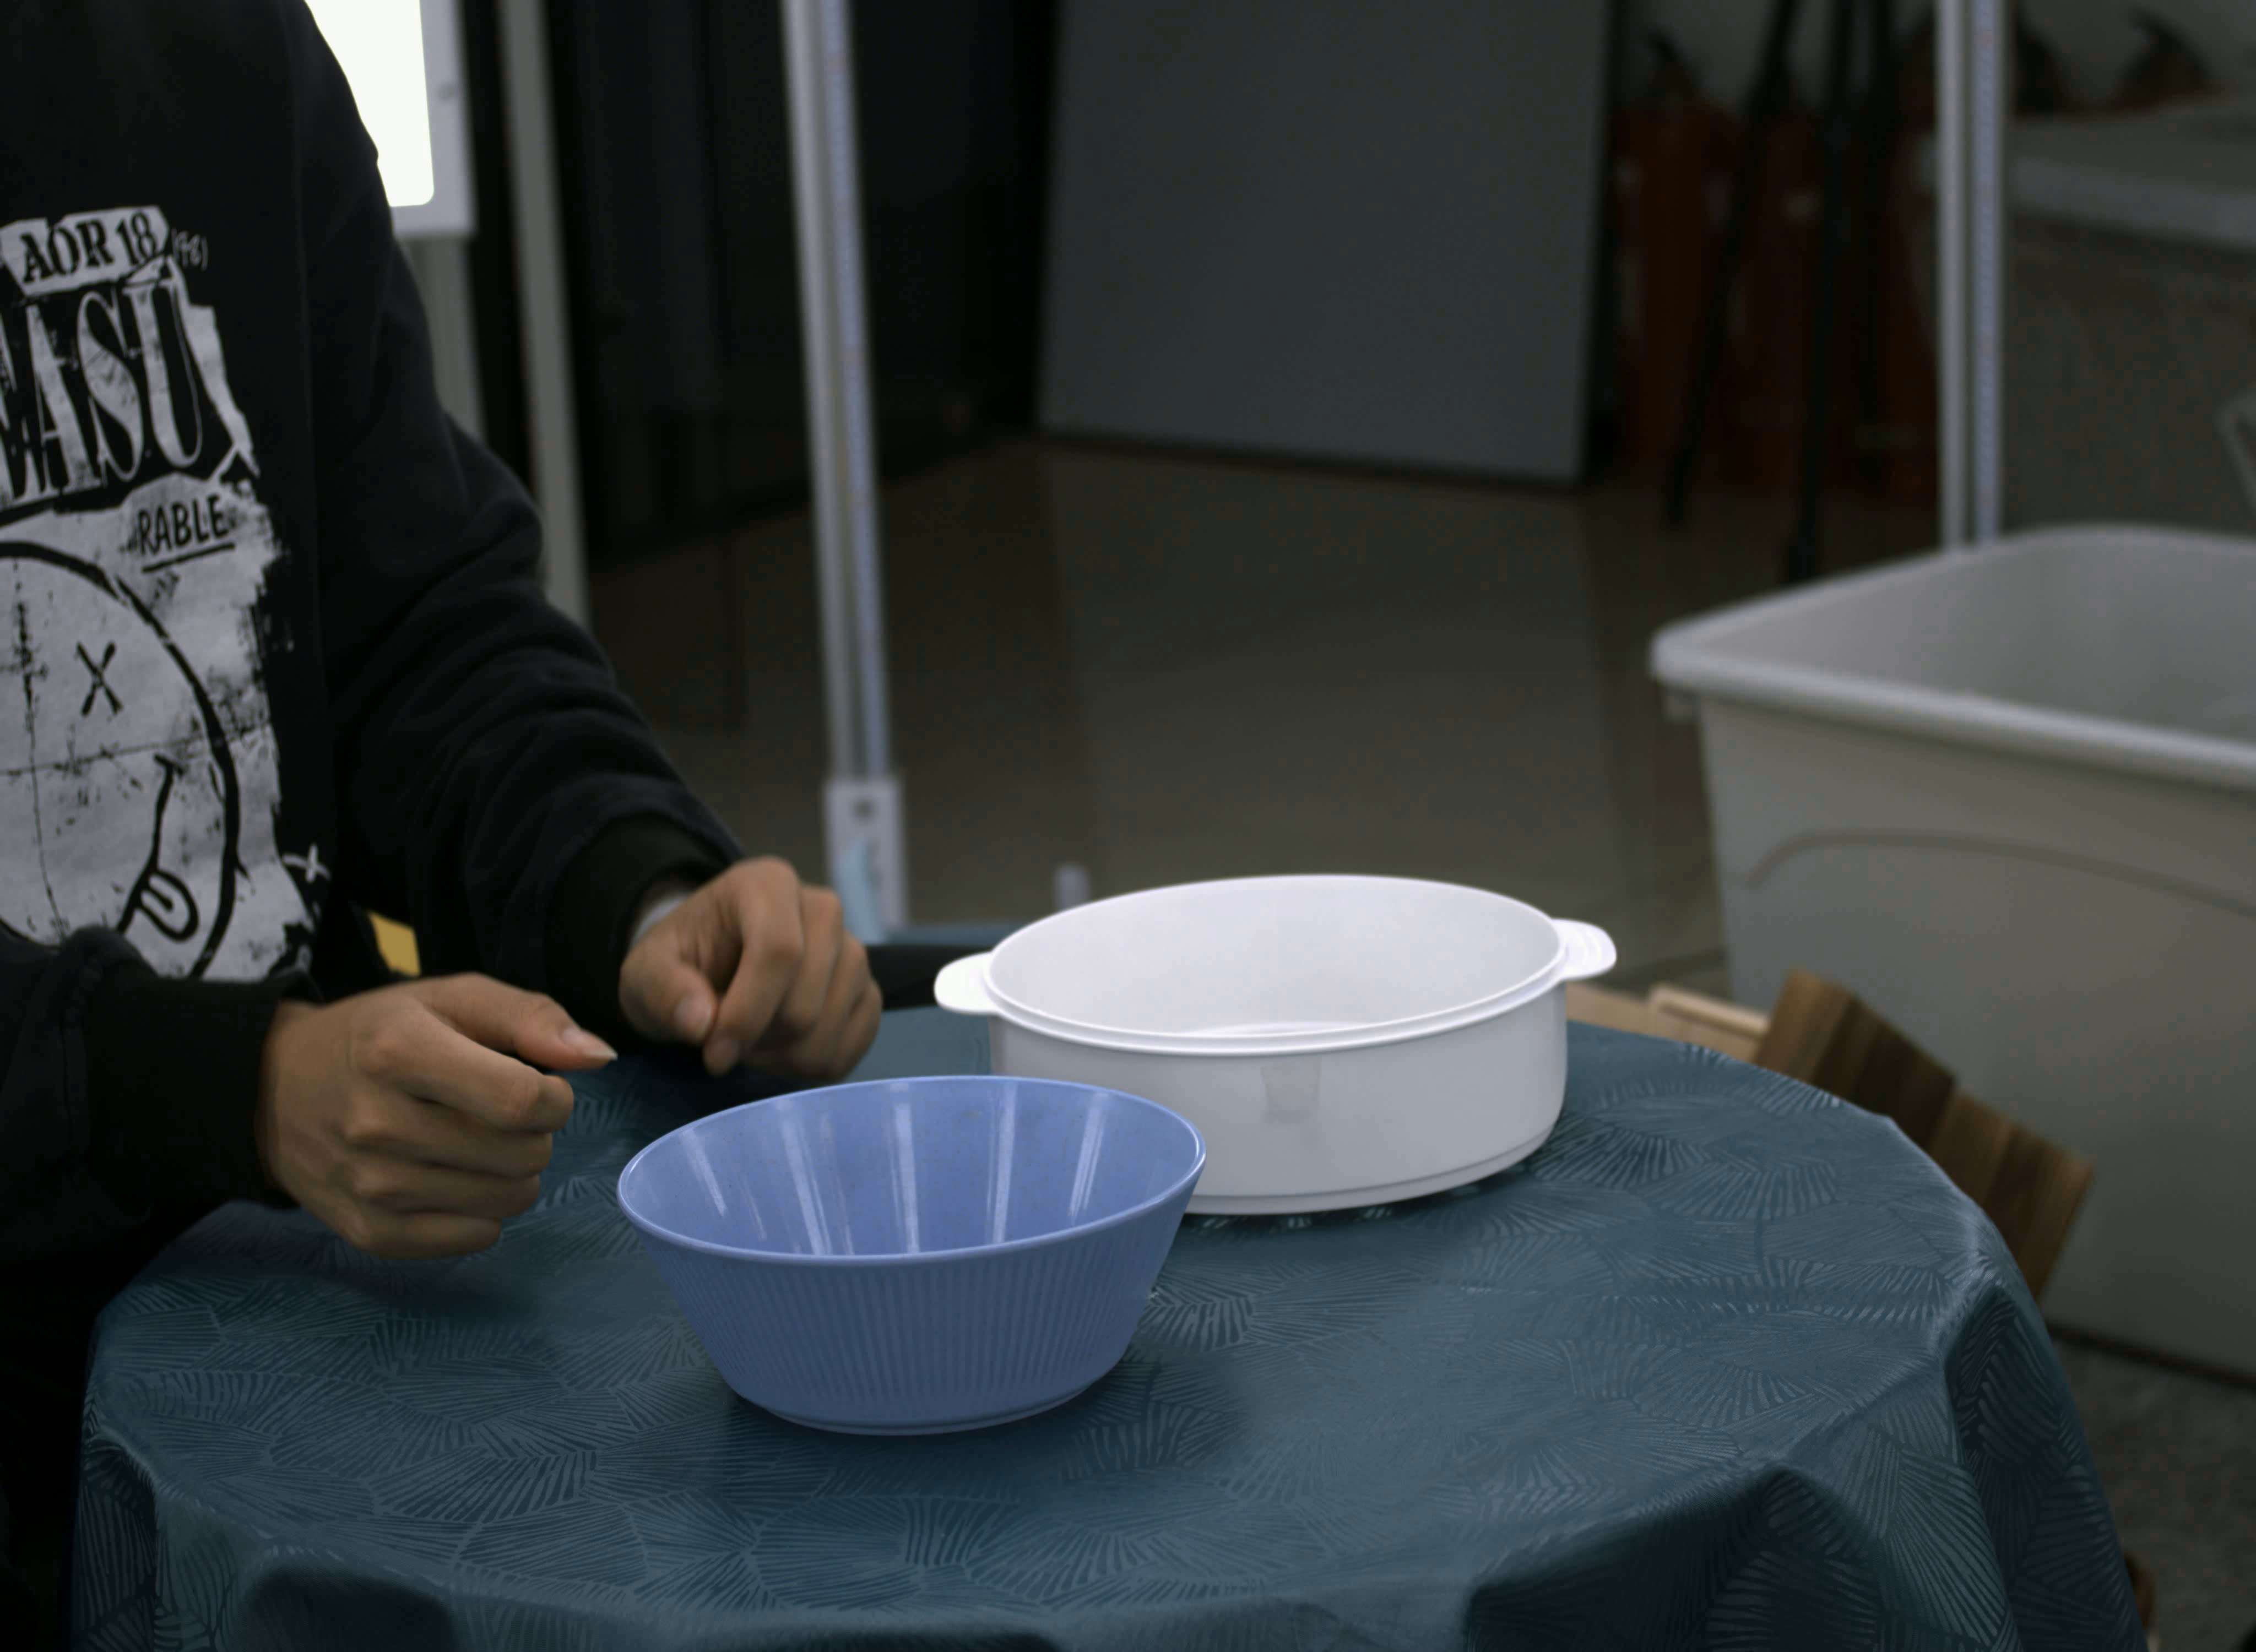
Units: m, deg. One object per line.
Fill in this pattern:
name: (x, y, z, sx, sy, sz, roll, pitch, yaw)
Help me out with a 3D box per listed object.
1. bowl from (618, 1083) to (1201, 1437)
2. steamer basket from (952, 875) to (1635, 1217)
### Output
bowl: (-0.063, 0.131, 1.602, 0.174, 0.071, 0.176, -4, 13, 0)
steamer basket: (0.056, 0.073, 1.805, 0.227, 0.070, 0.202, -2, 14, 0)
